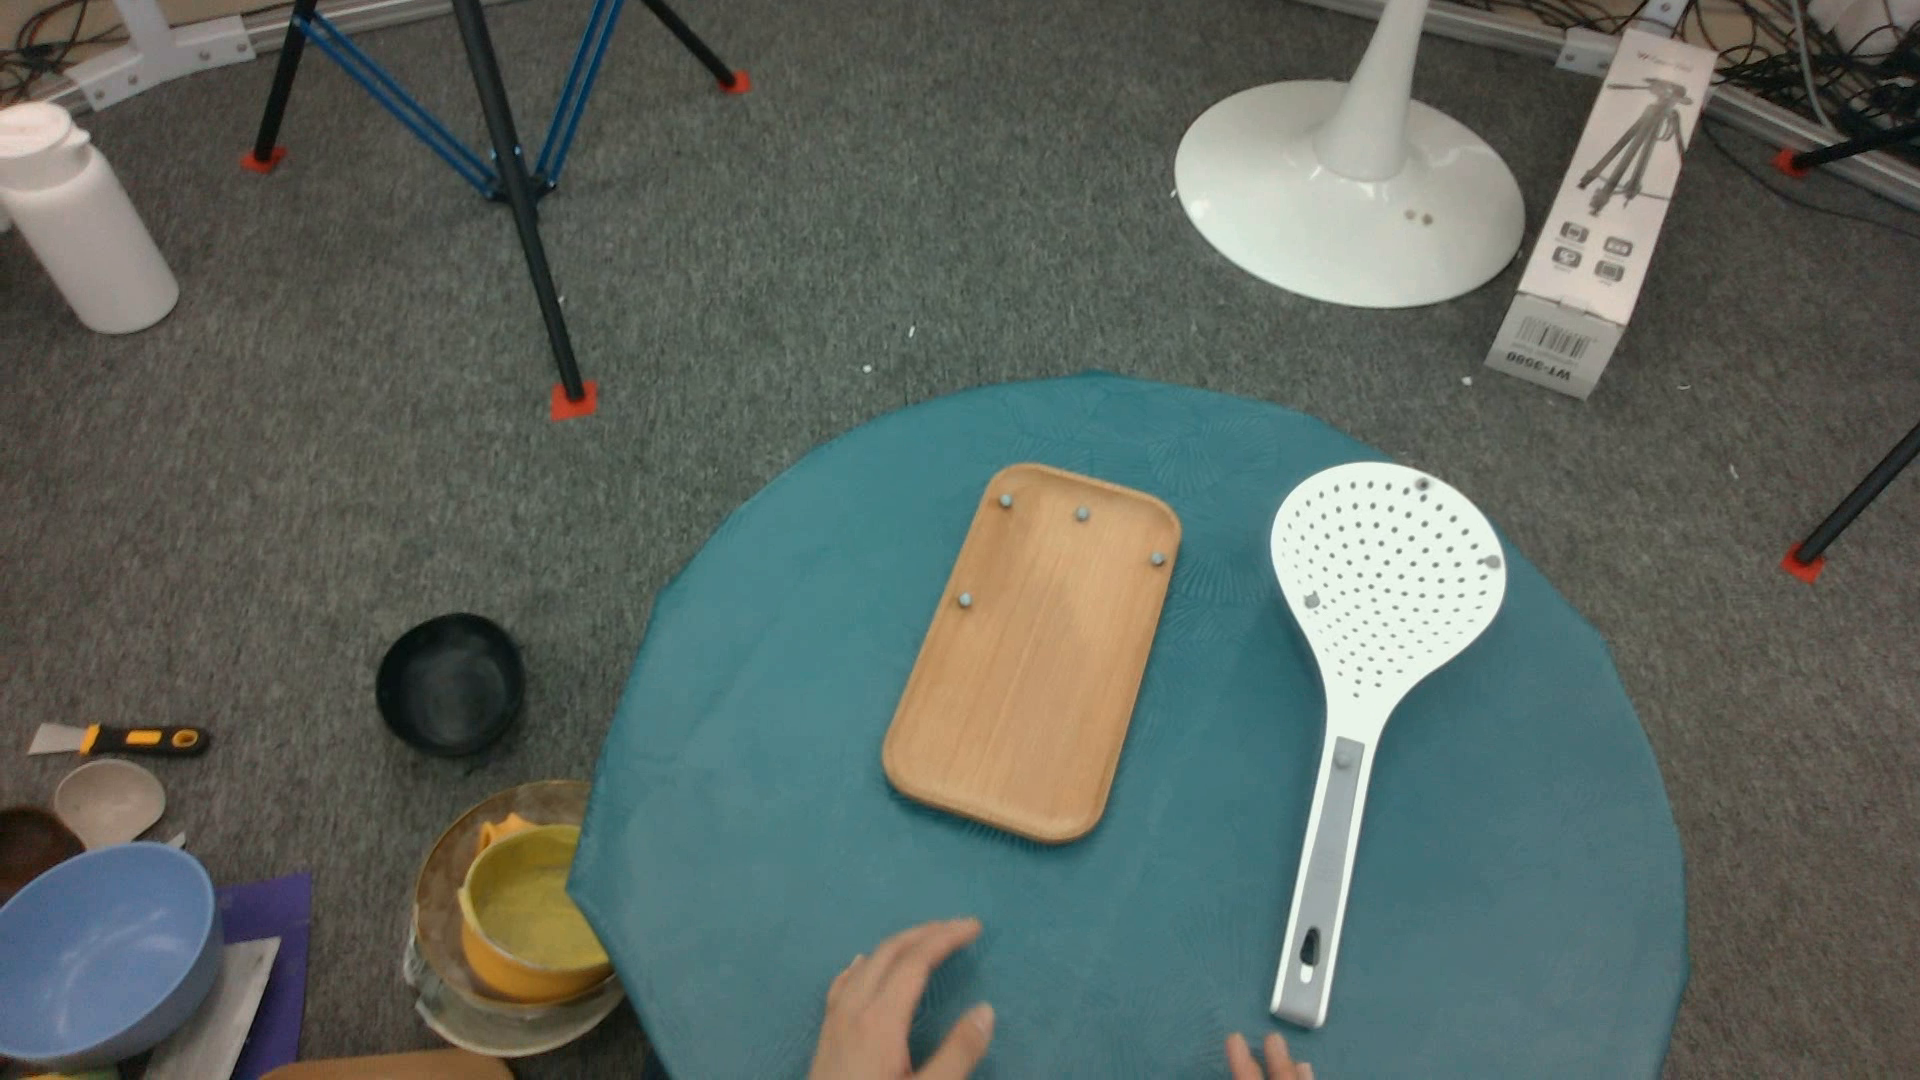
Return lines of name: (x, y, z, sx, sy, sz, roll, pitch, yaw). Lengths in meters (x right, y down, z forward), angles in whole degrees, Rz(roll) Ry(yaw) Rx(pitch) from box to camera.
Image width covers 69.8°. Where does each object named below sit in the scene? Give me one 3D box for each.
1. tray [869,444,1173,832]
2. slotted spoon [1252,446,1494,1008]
tray: (0.041, 0.049, 0.812, 0.130, 0.023, 0.252, 16, 55, 9)
slotted spoon: (0.217, 0.091, 0.777, 0.136, 0.045, 0.351, 16, 55, 10)
